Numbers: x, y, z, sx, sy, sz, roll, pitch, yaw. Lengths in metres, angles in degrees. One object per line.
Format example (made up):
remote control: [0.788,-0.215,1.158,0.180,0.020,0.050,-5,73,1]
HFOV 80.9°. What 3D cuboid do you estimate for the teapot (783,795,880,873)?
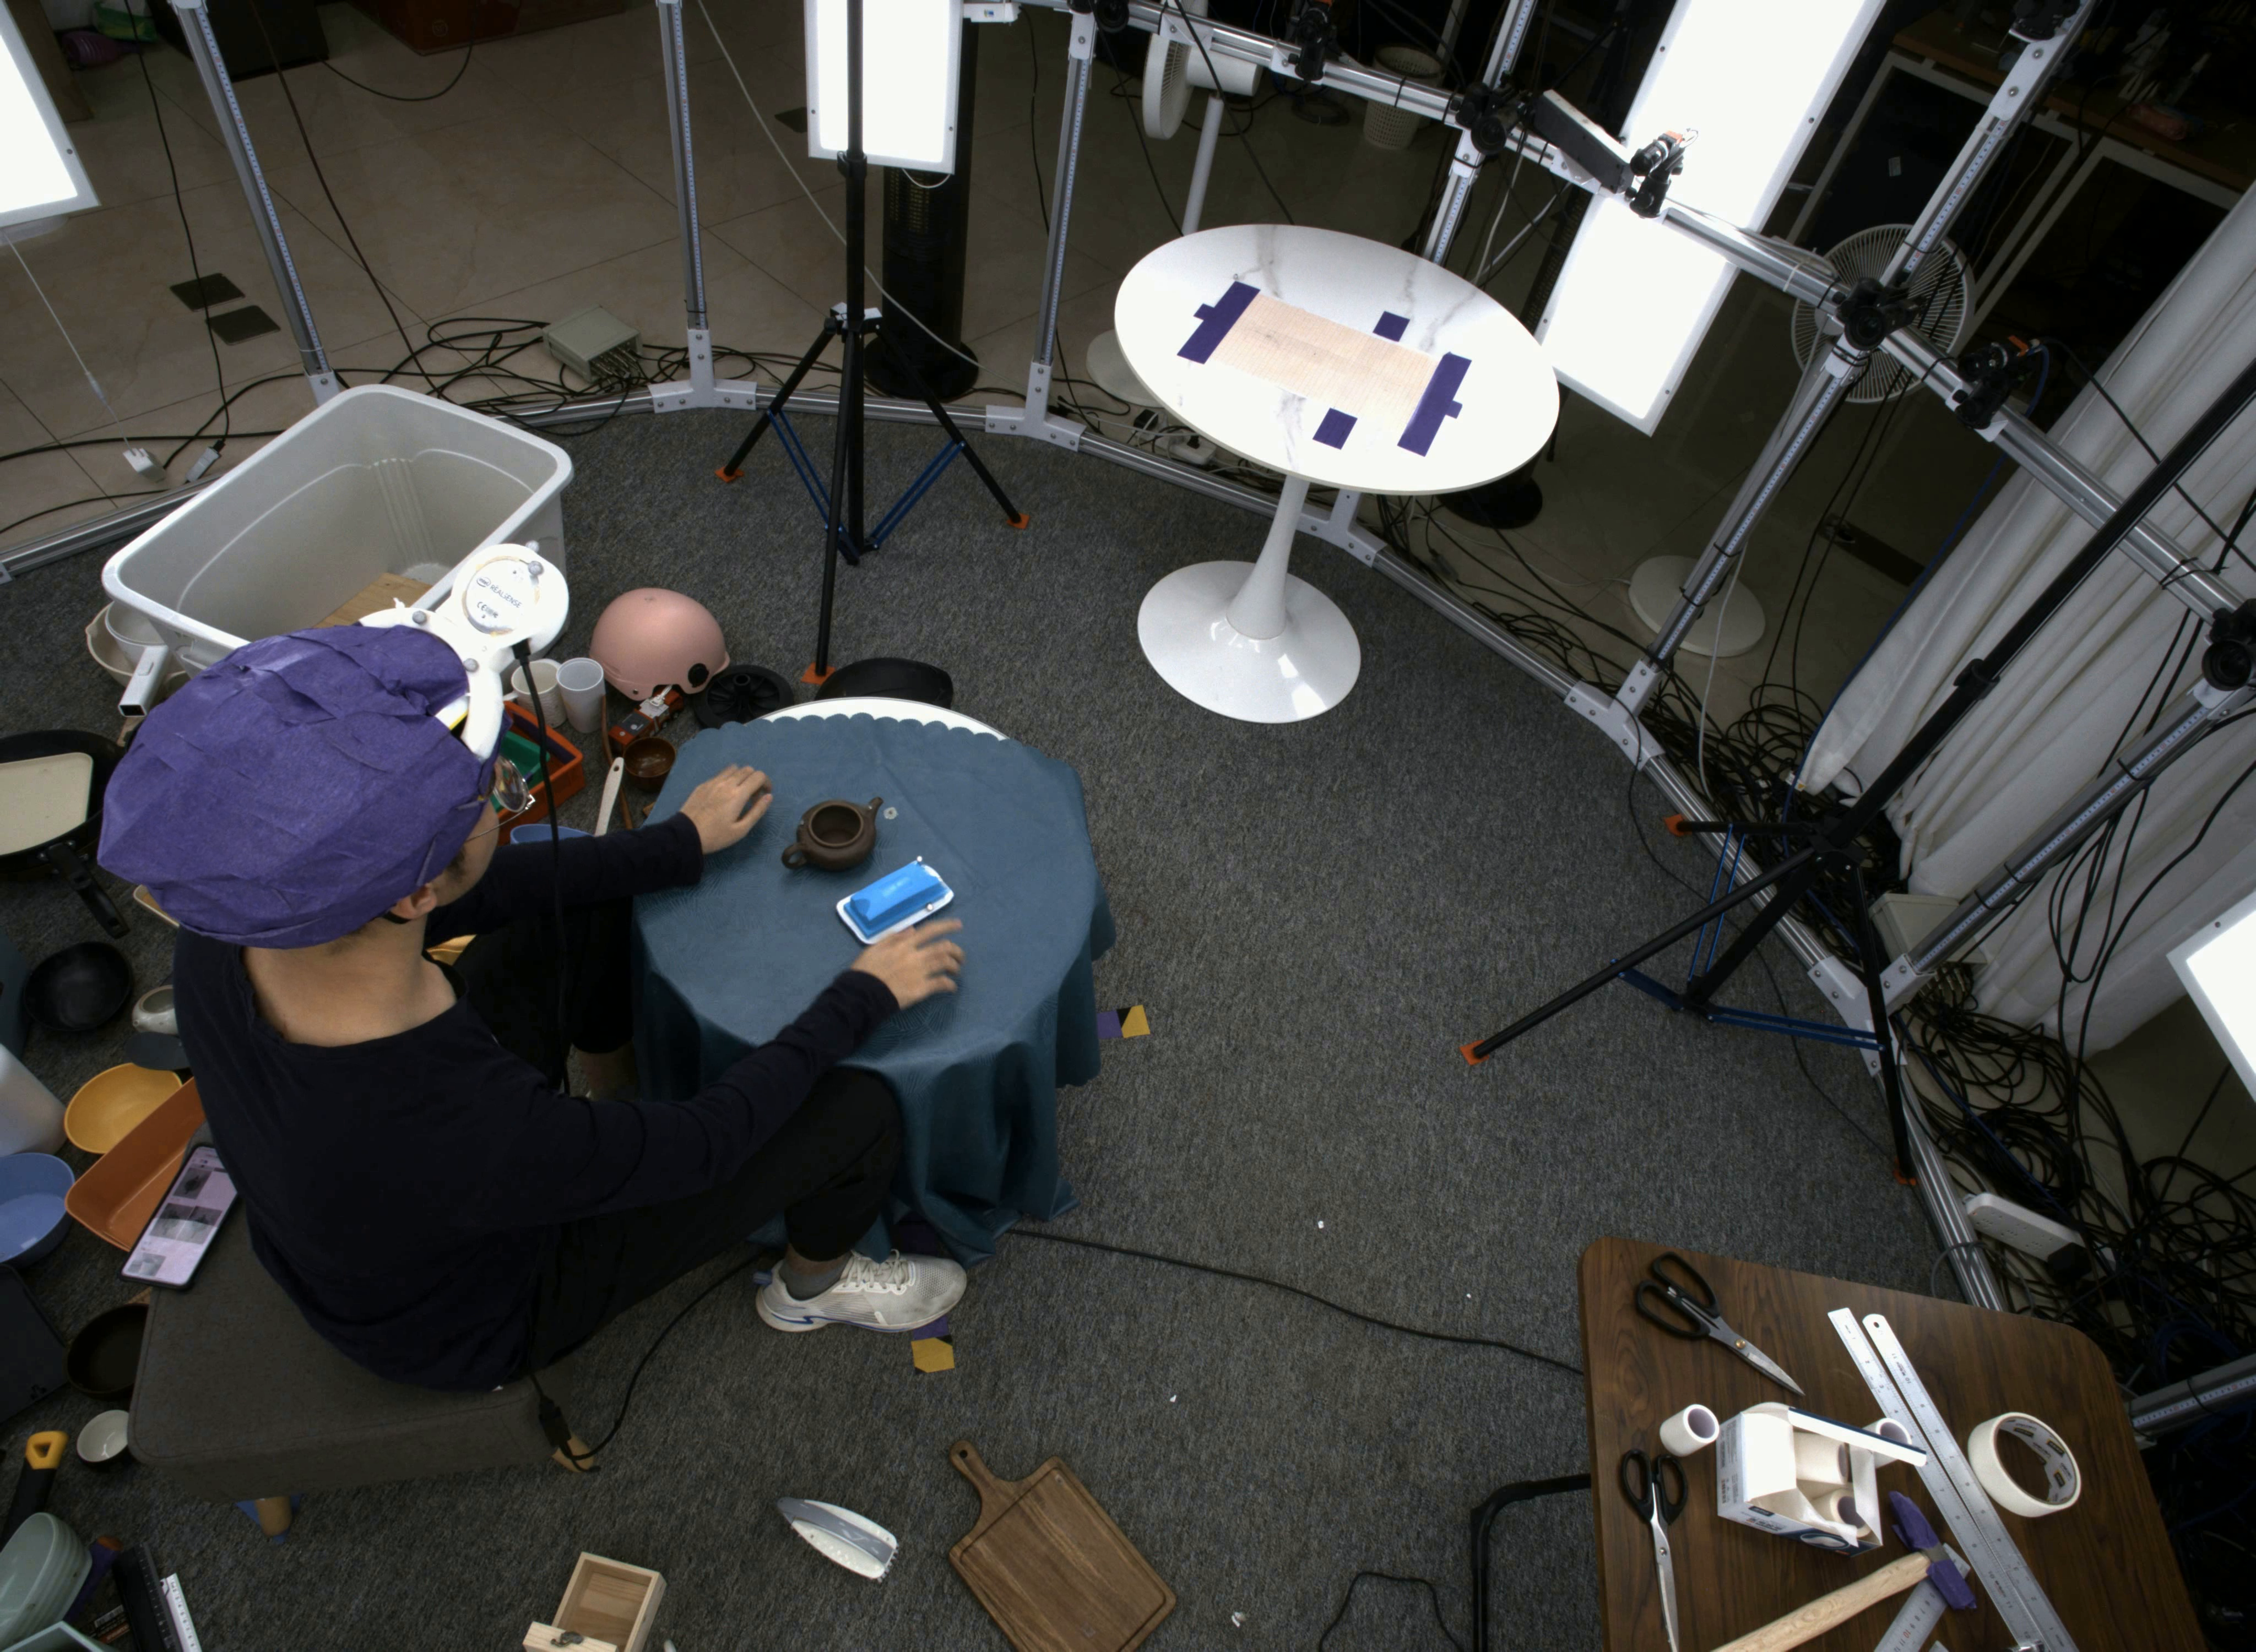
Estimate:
teapot: [-0.384,0.013,1.692,0.100,0.055,0.154,39,55,18]

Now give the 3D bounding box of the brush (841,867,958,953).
brush: [-0.293,0.099,1.662,0.144,0.057,0.081,-26,56,-30]
